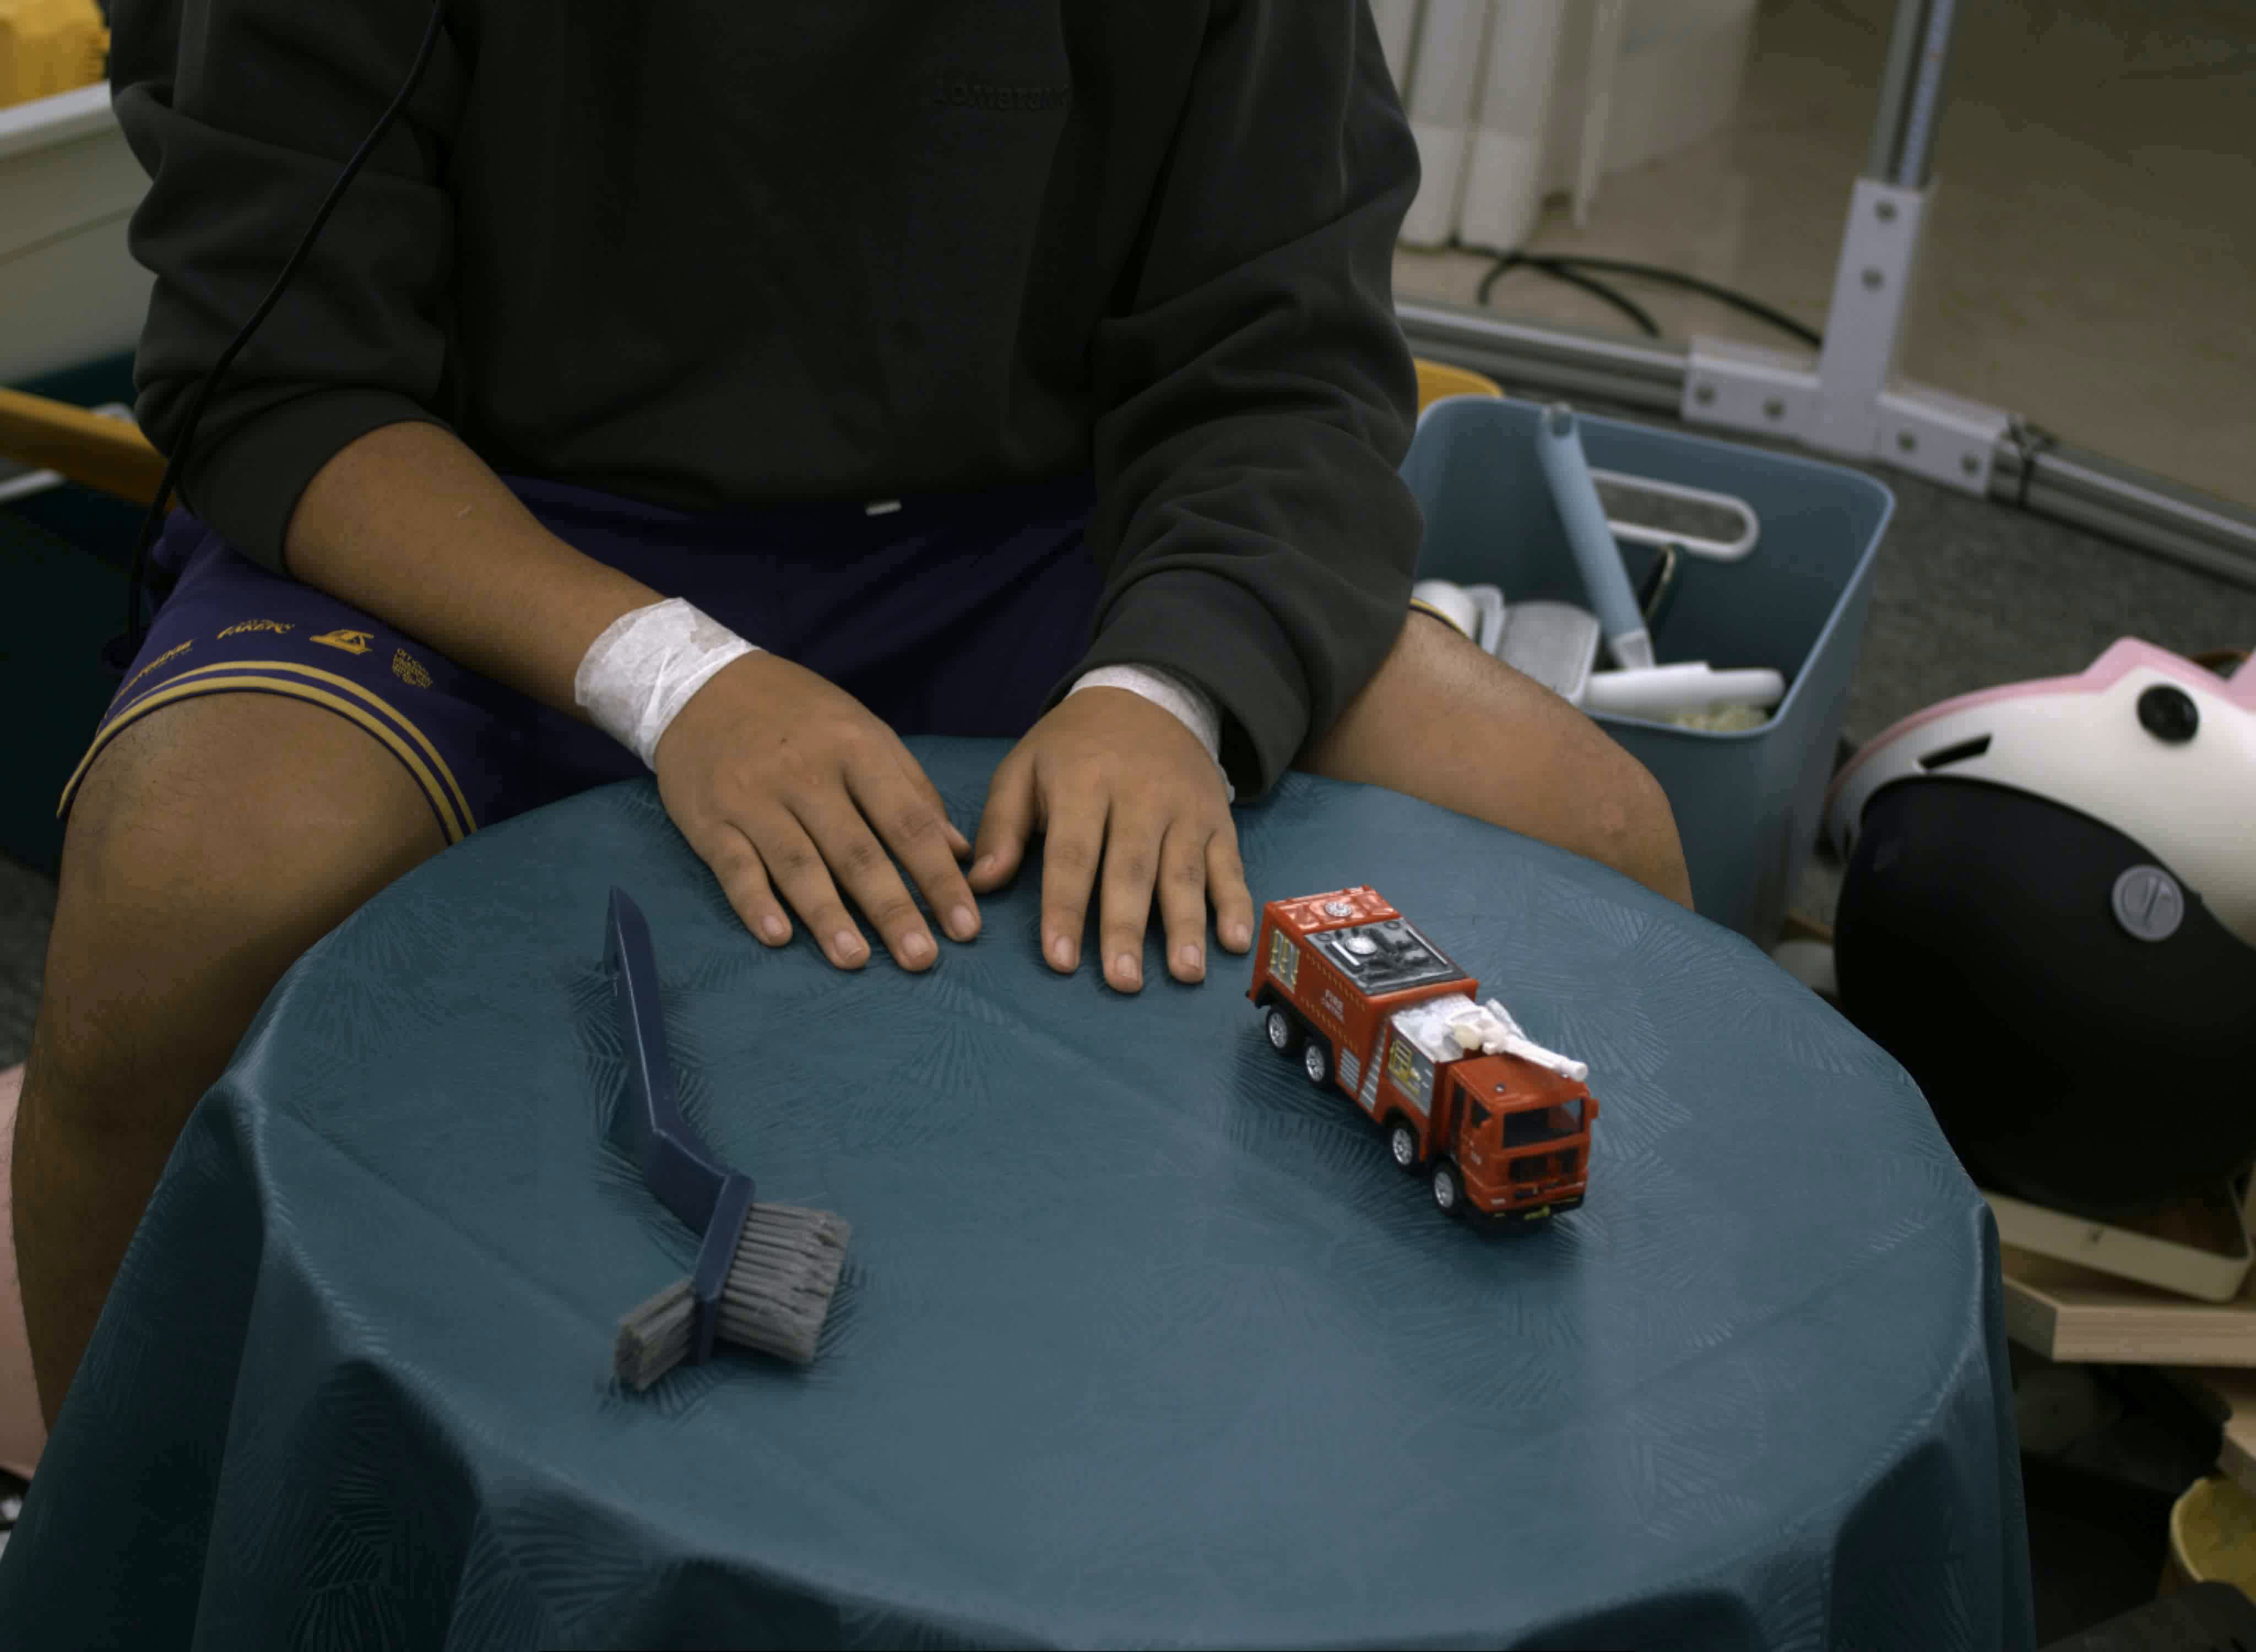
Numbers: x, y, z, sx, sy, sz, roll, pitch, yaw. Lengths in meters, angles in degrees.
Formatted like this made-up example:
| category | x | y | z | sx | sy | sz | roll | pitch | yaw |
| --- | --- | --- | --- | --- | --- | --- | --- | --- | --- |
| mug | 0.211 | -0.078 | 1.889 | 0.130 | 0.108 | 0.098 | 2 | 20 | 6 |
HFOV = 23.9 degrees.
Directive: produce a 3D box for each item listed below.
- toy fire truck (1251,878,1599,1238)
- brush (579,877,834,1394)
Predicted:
| category | x | y | z | sx | sy | sz | roll | pitch | yaw |
| --- | --- | --- | --- | --- | --- | --- | --- | --- | --- |
| toy fire truck | 0.103 | 0.079 | 1.848 | 0.053 | 0.070 | 0.169 | -9 | 30 | -28 |
| brush | -0.162 | 0.099 | 1.779 | 0.095 | 0.033 | 0.275 | -4 | 29 | -17 |
